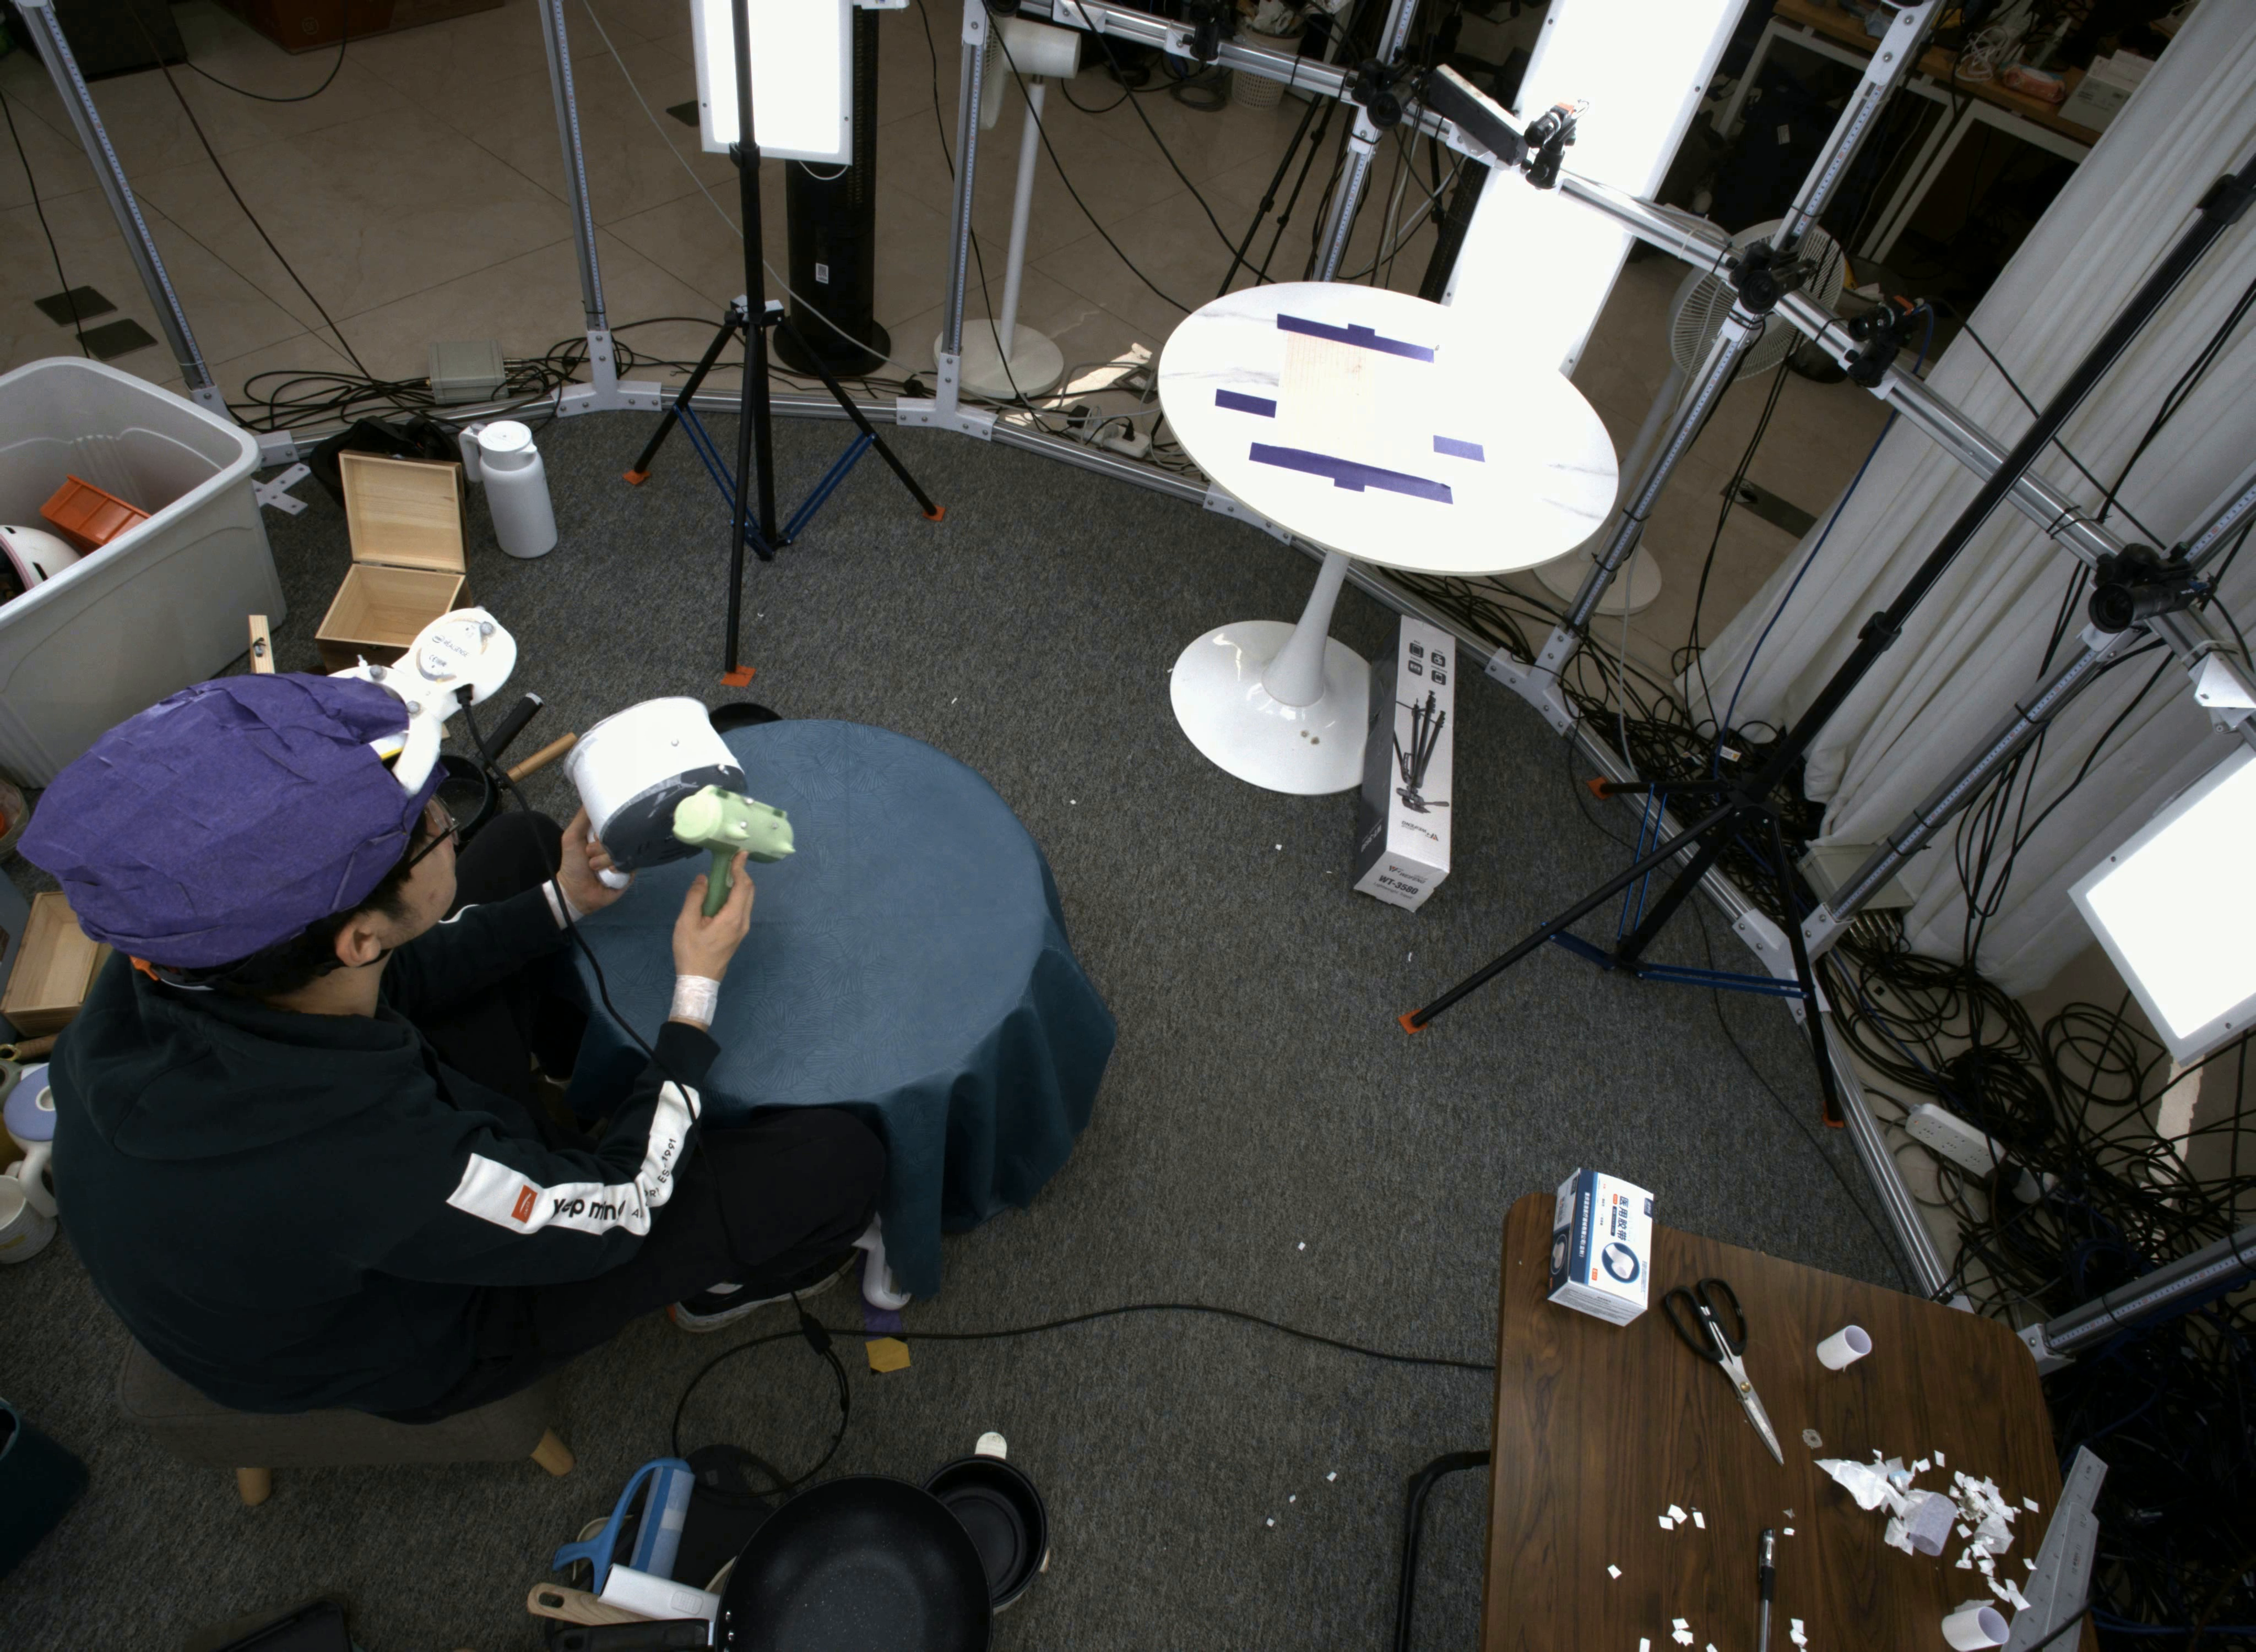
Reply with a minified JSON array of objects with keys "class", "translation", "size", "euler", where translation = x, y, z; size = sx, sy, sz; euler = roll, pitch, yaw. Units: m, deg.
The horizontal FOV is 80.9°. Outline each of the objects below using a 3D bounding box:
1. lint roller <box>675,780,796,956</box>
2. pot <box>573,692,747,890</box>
[{"class":"lint roller","translation":[-0.445,0.056,1.463],"size":[0.080,0.201,0.184],"euler":[5,83,11]},{"class":"pot","translation":[-0.559,-0.033,1.490],"size":[0.135,0.232,0.181],"euler":[57,24,12]}]
